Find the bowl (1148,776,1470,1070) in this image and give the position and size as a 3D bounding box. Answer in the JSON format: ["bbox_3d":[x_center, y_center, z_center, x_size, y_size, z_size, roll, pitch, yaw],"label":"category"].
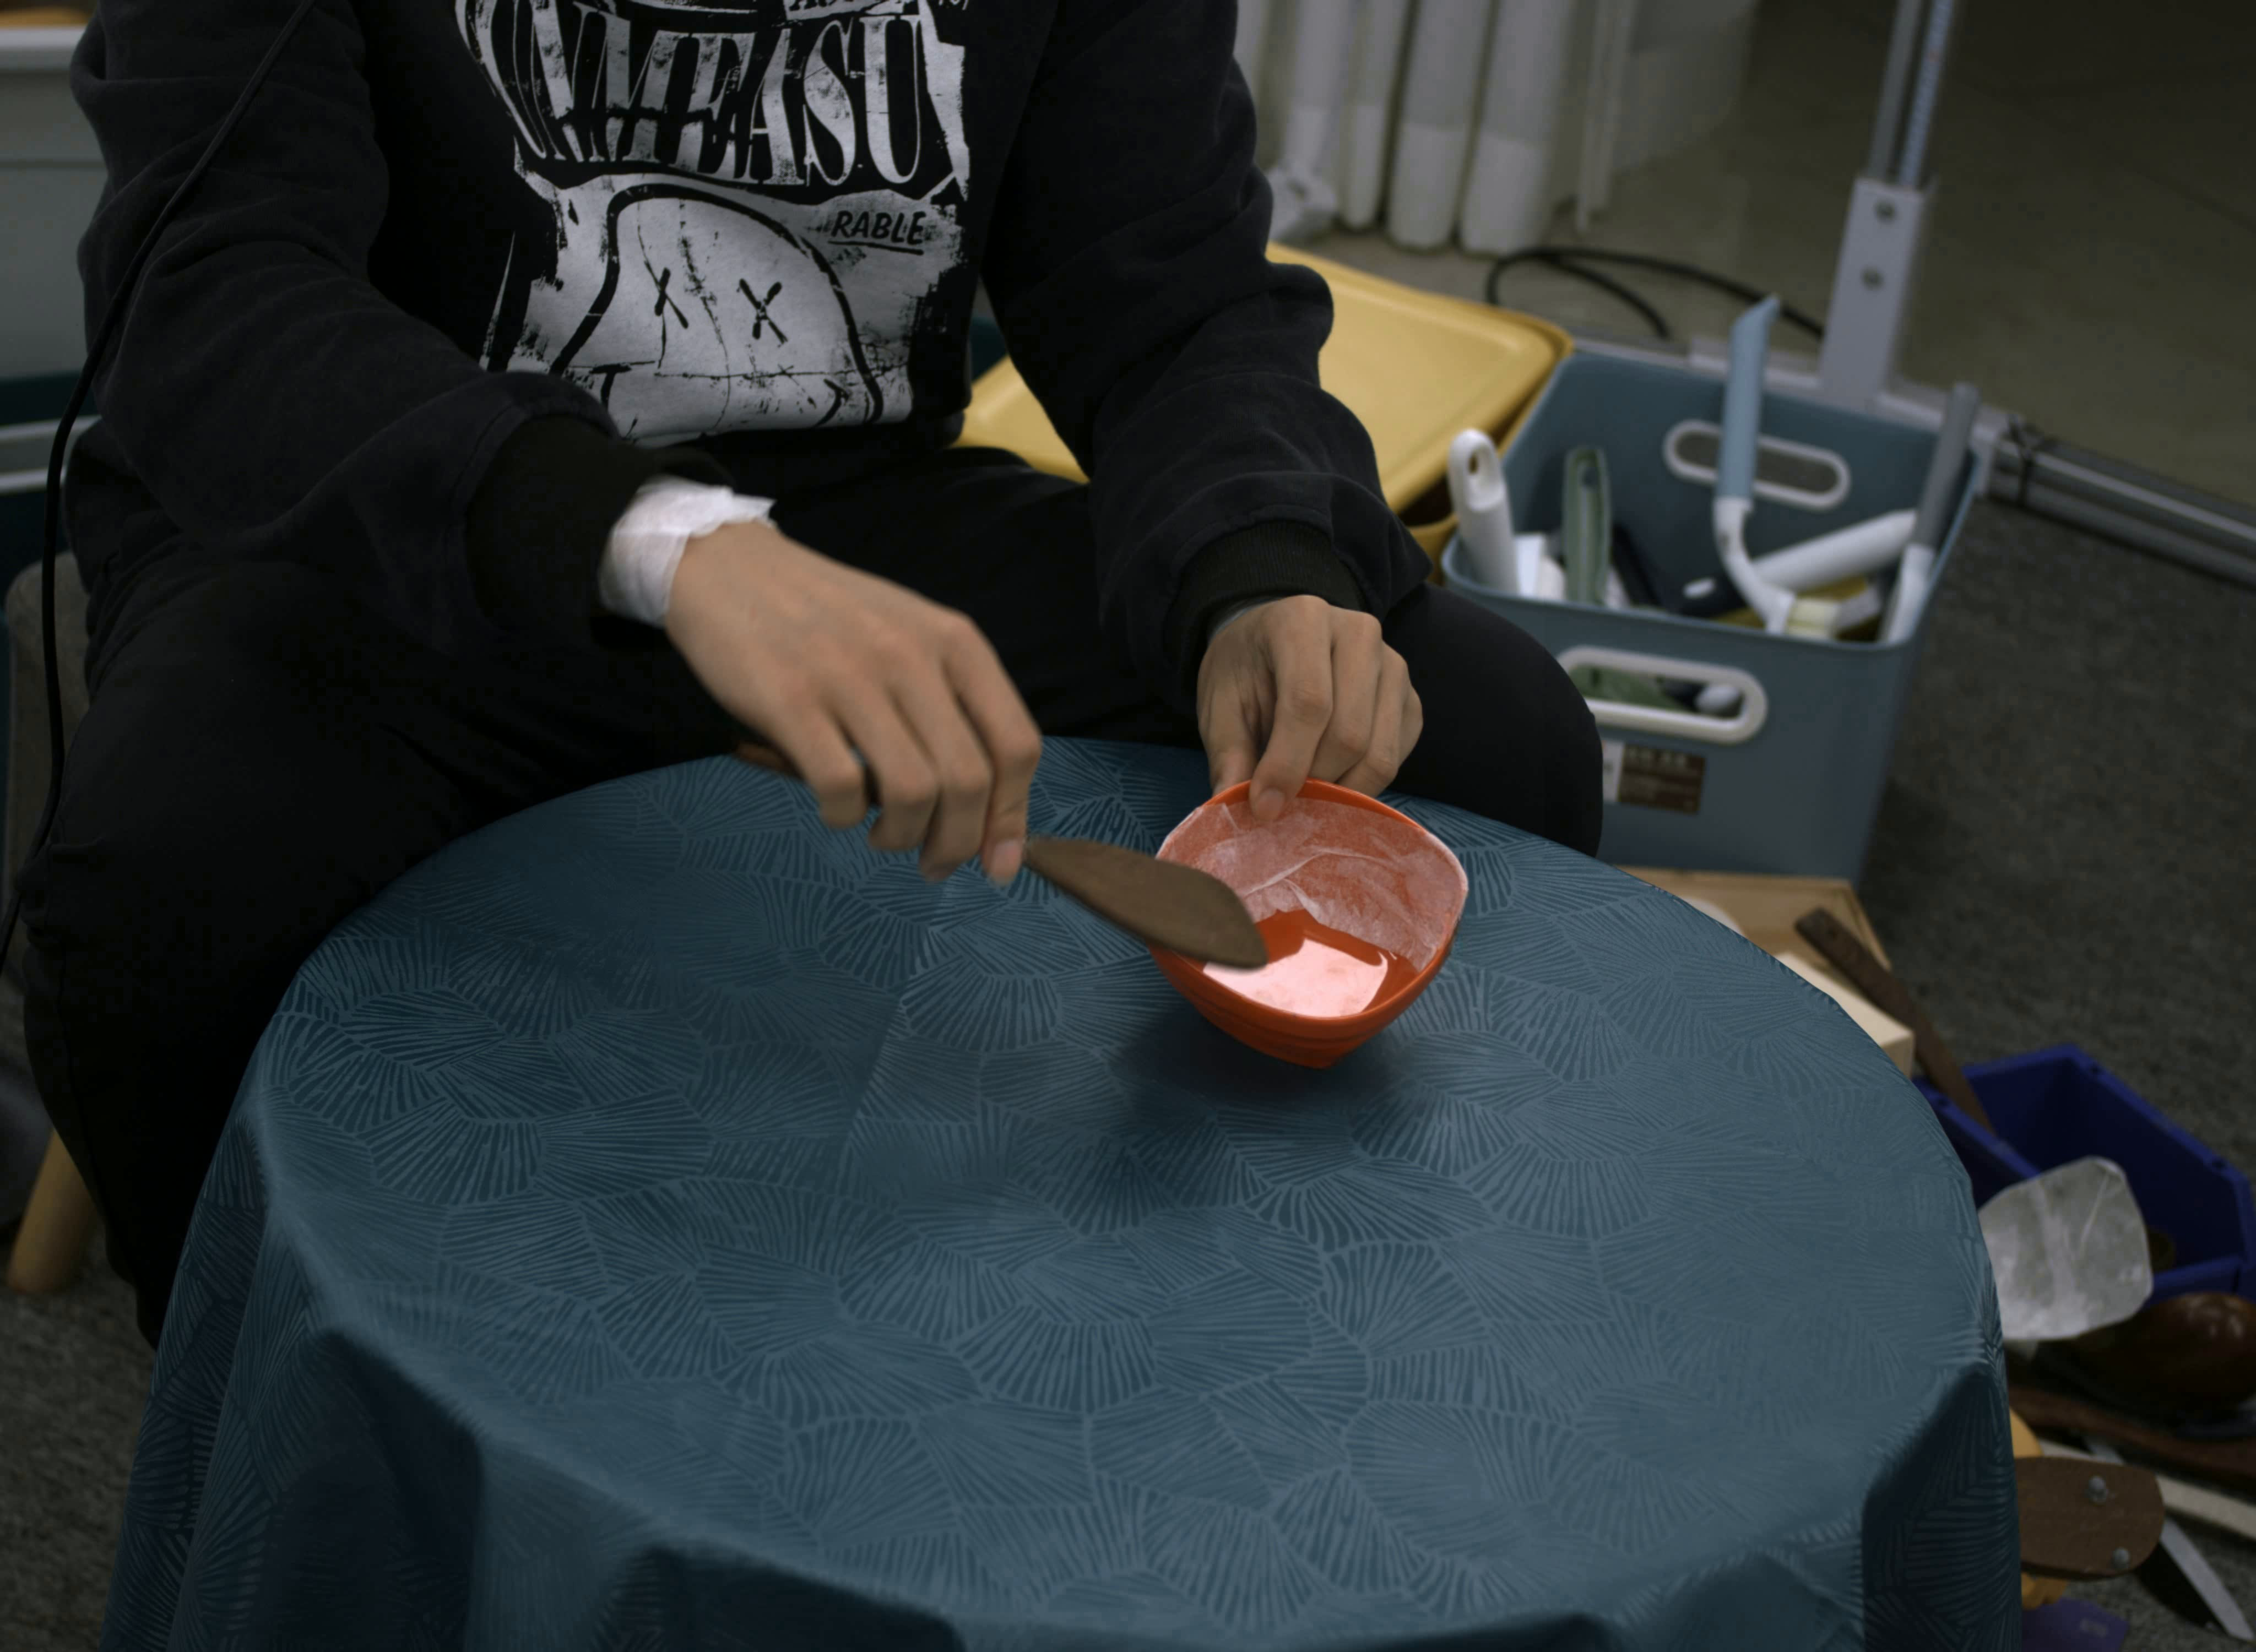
[{"bbox_3d":[0.062,0.042,1.898,0.118,0.051,0.120,1,48,-2],"label":"bowl"}]

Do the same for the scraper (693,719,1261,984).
[{"bbox_3d":[-0.052,0.006,1.797,0.210,0.011,0.076,21,21,-20],"label":"scraper"}]
